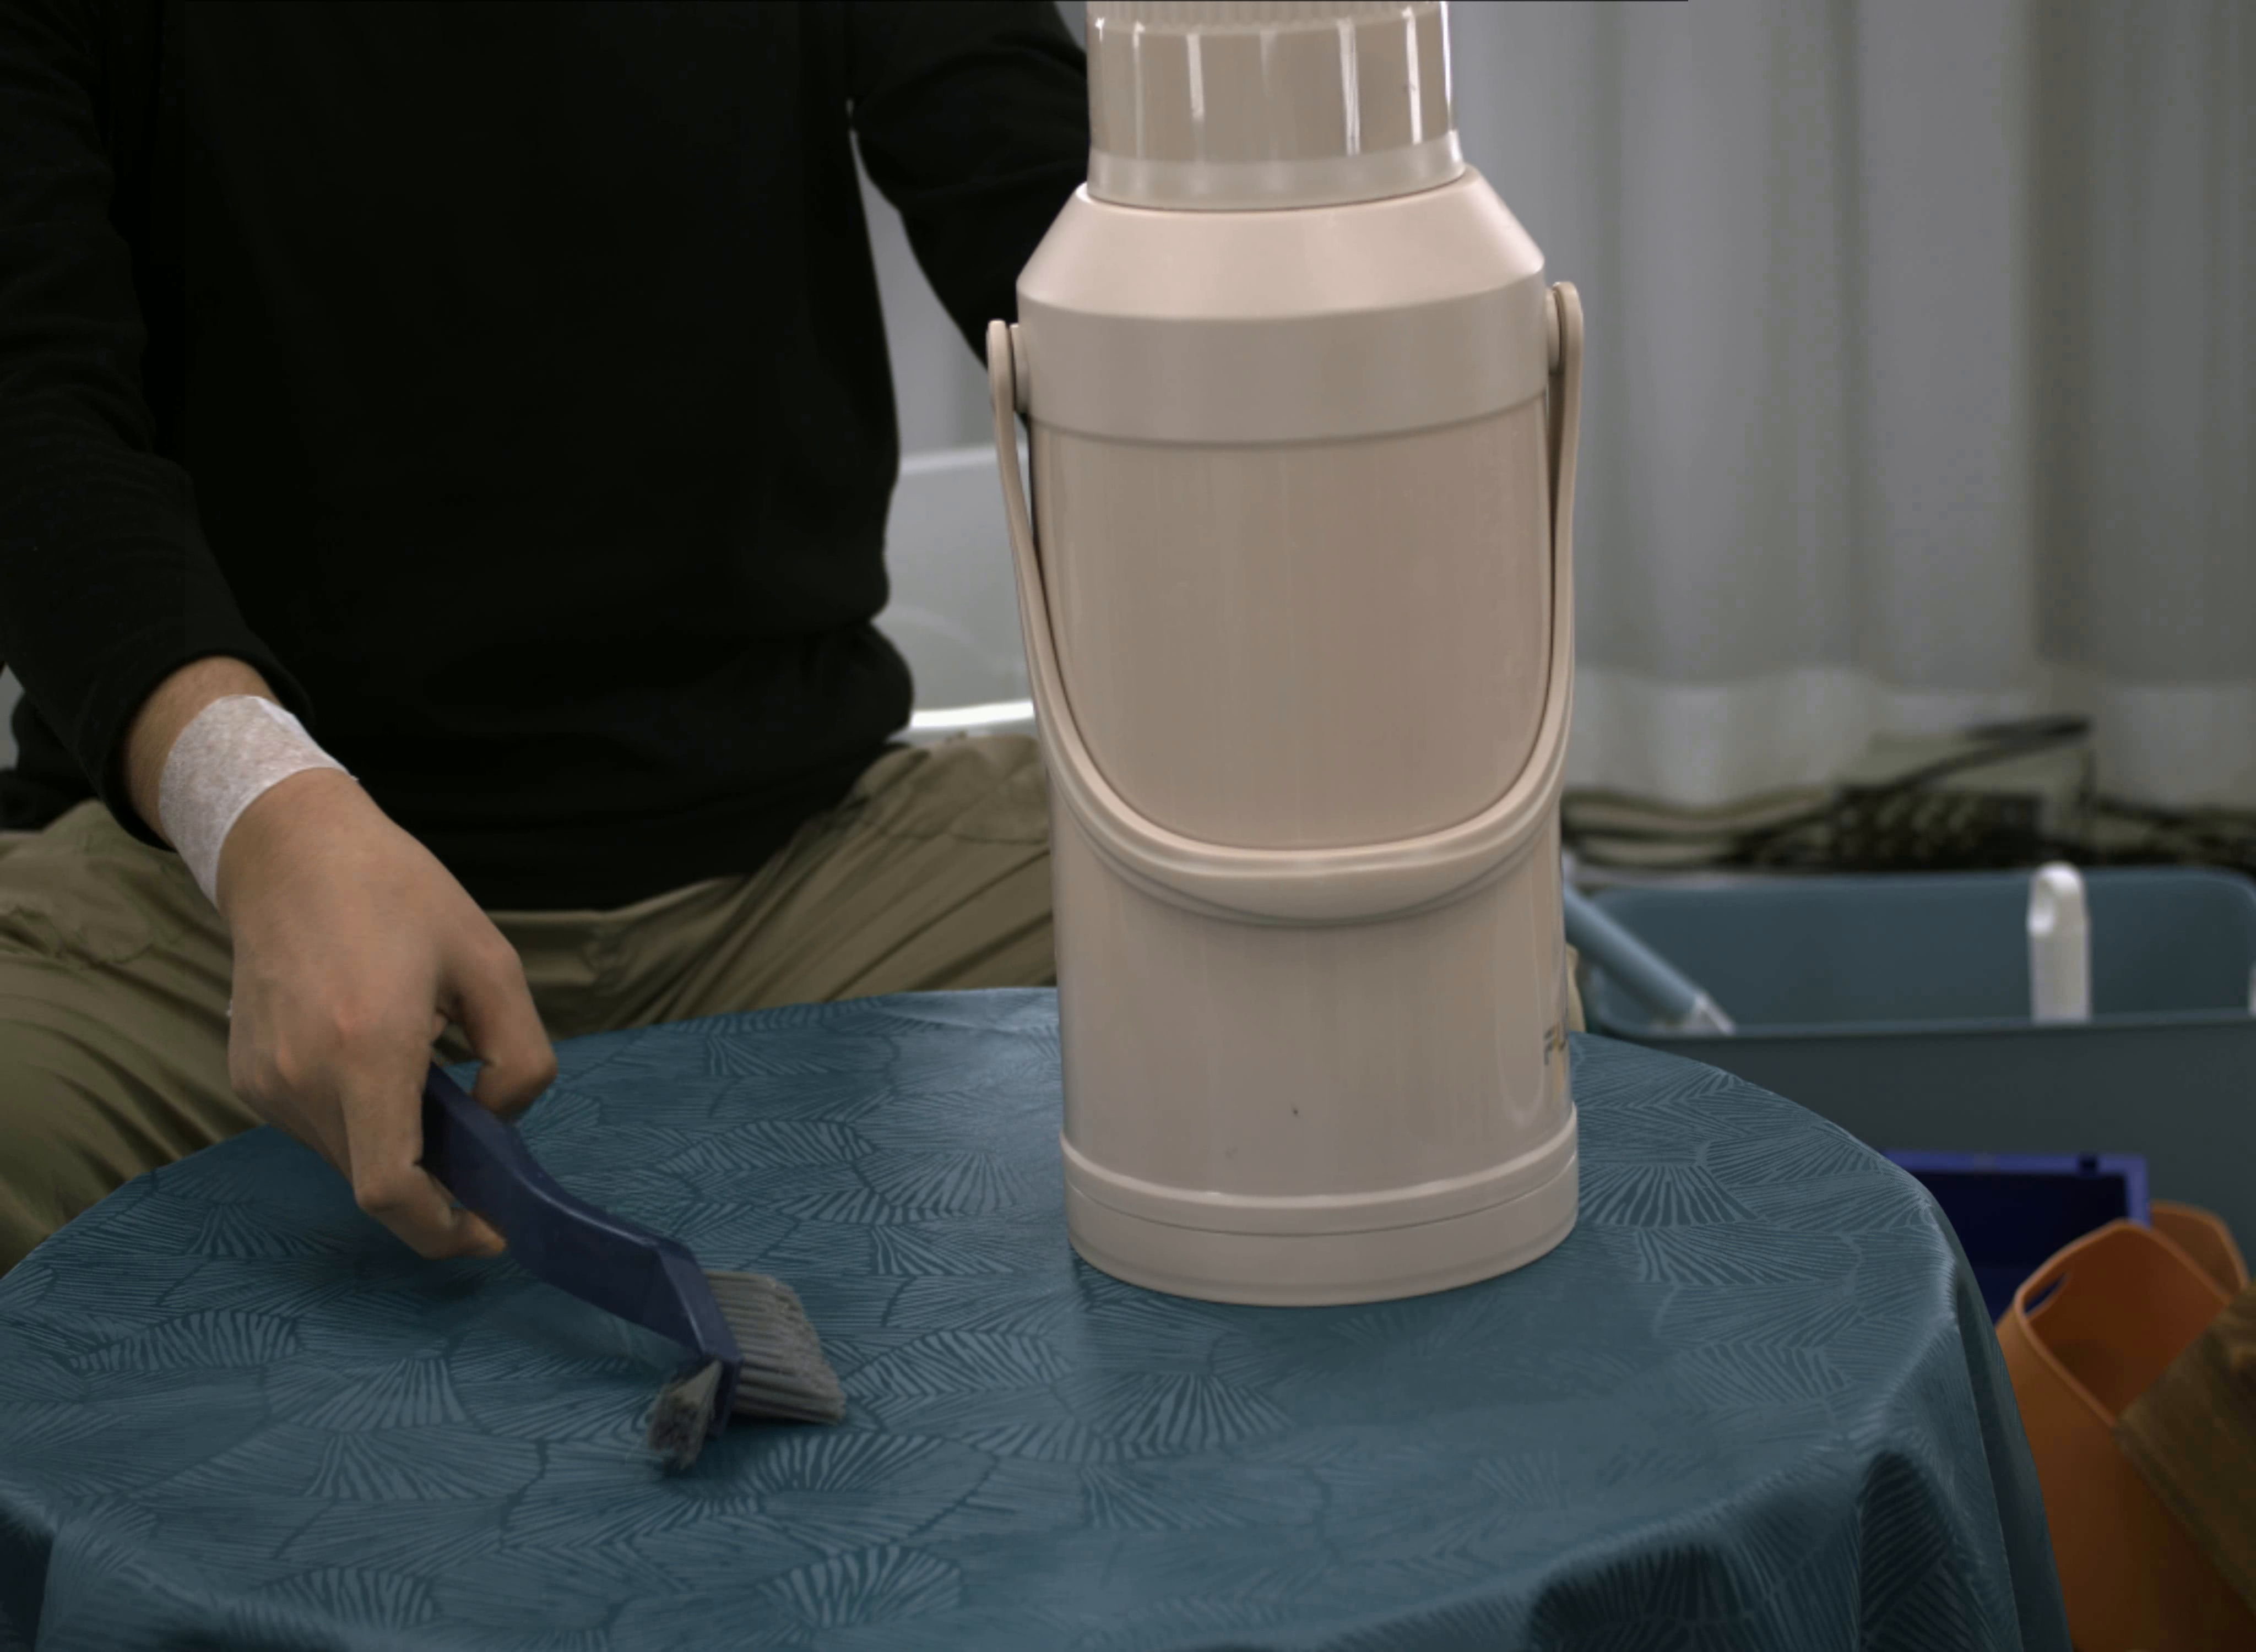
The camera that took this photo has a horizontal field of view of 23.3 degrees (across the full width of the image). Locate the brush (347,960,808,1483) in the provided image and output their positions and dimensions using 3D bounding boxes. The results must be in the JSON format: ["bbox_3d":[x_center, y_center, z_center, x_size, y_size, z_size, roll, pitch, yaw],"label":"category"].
[{"bbox_3d":[-0.182,0.112,1.610,0.095,0.033,0.276,-5,26,-40],"label":"brush"}]

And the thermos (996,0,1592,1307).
[{"bbox_3d":[0.052,-0.074,1.647,0.174,0.405,0.208,-5,14,-5],"label":"thermos"}]
